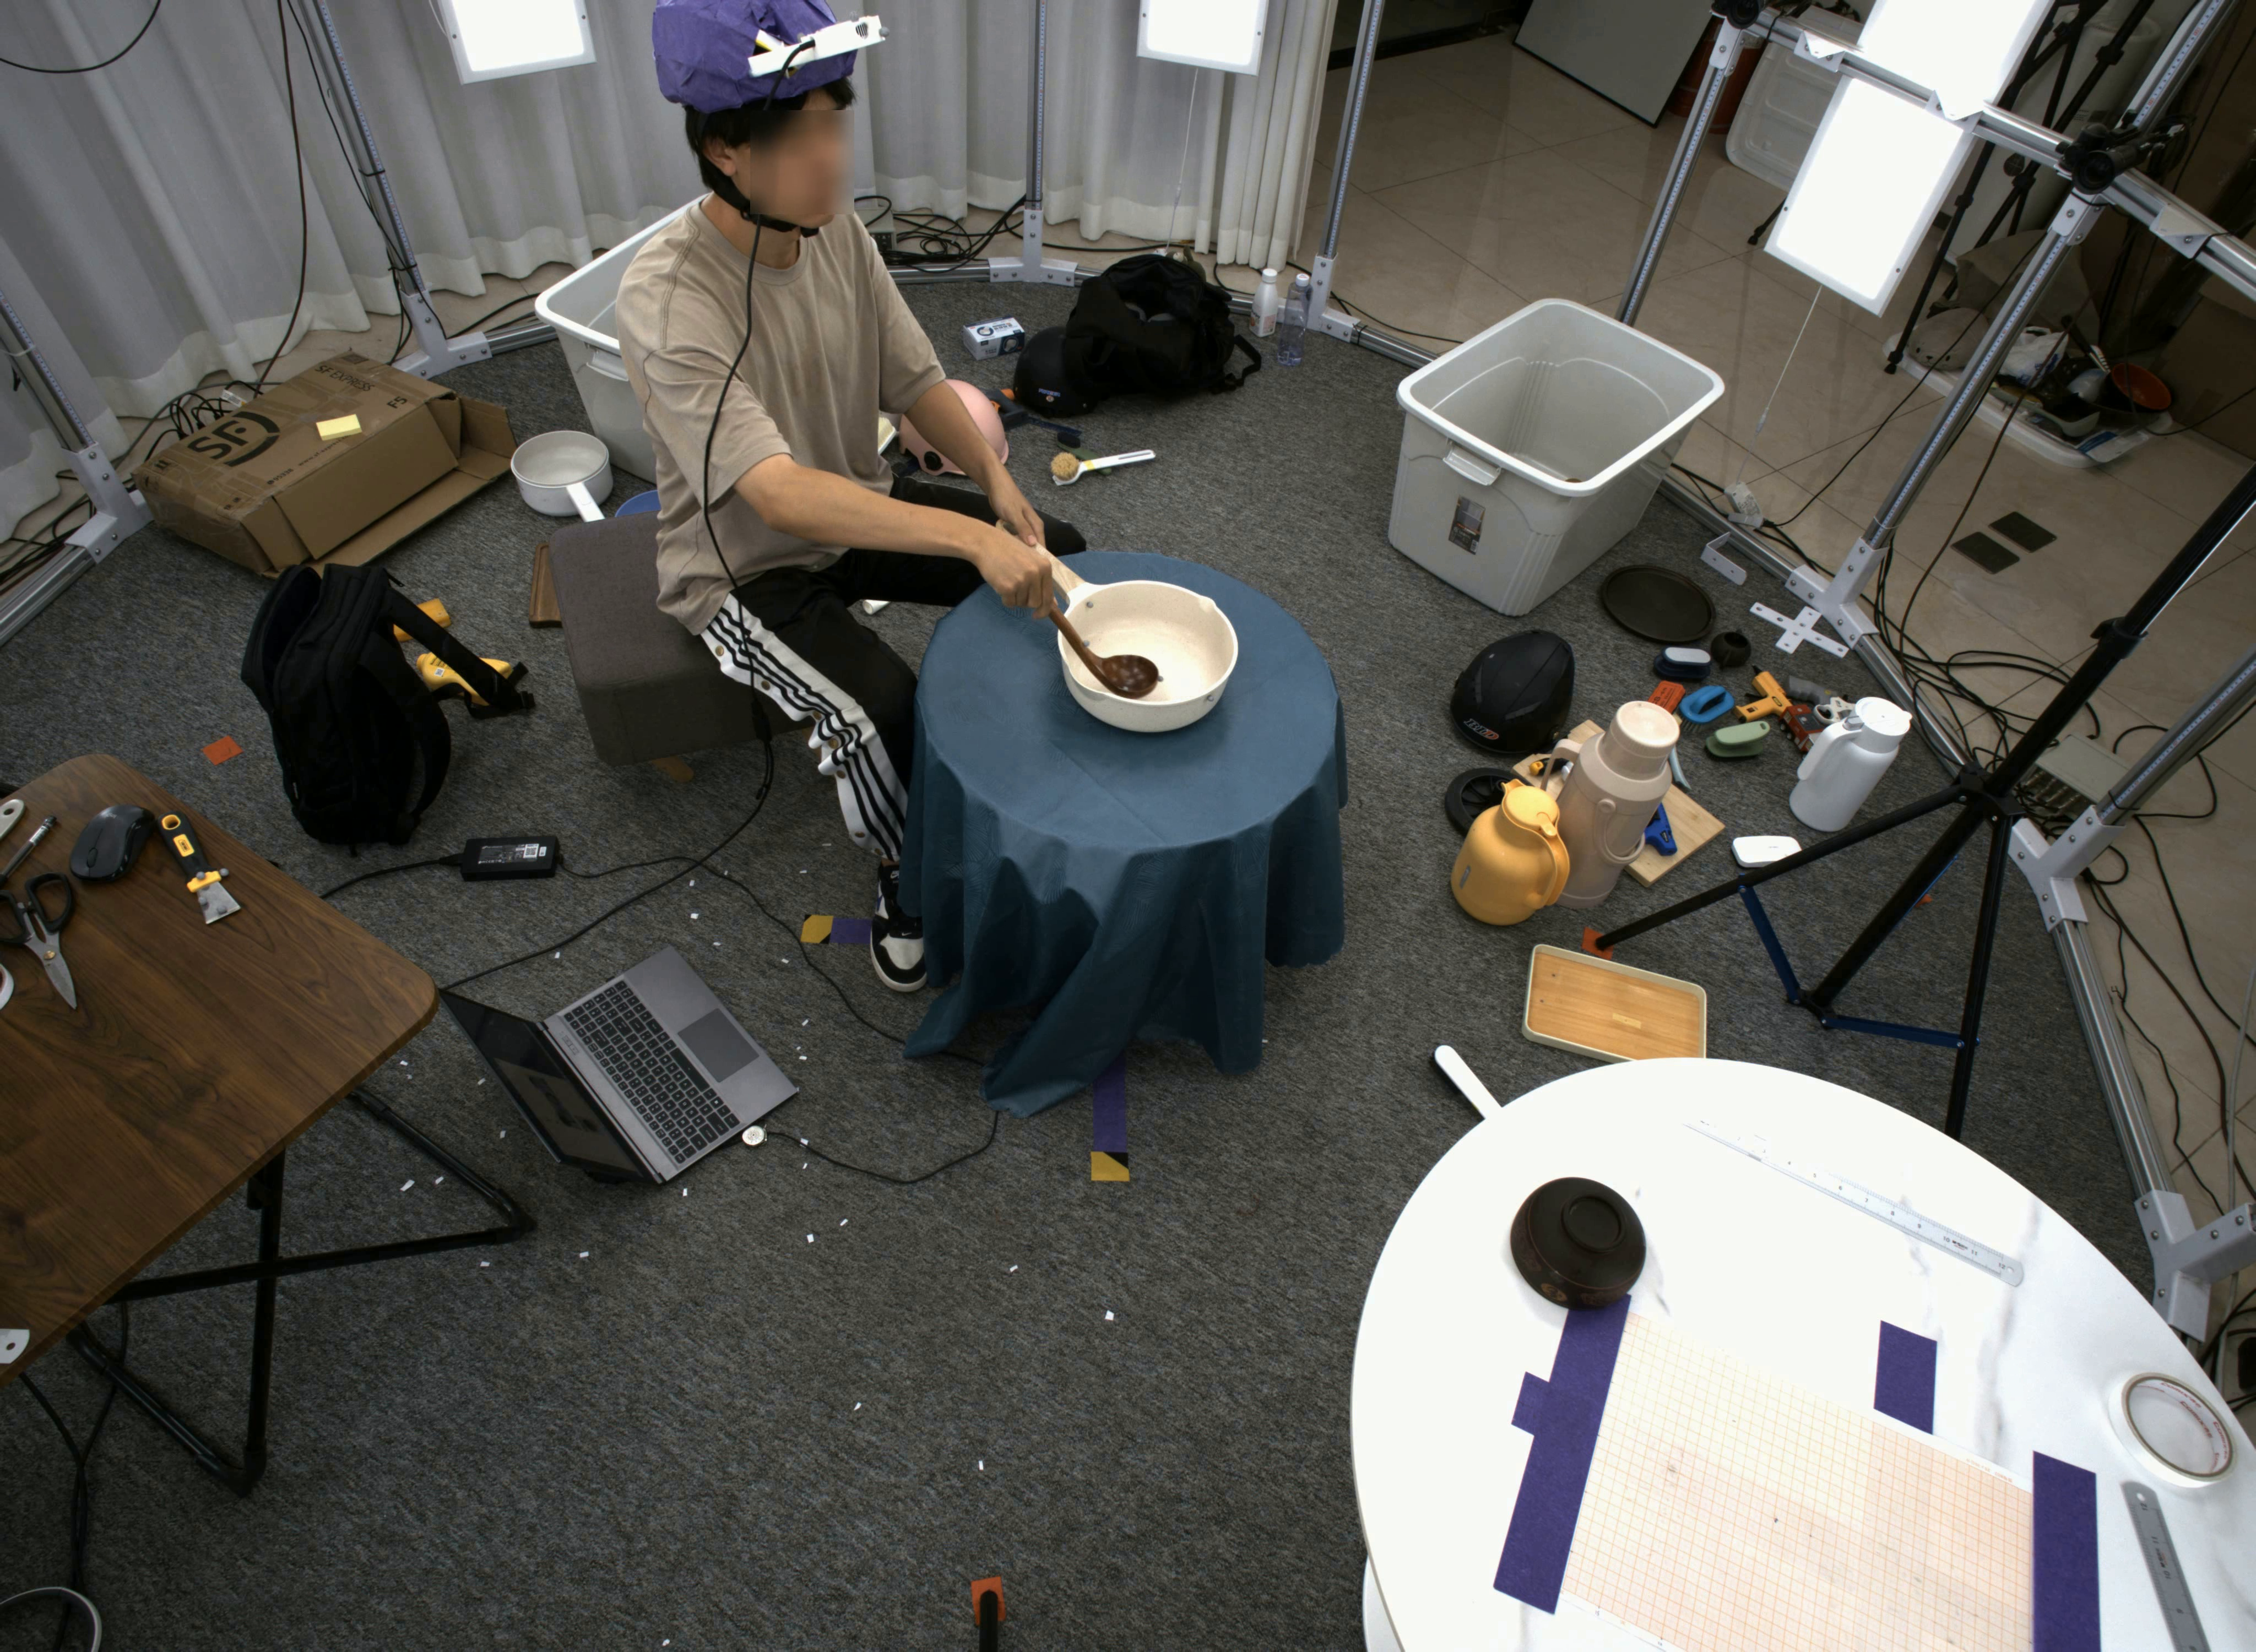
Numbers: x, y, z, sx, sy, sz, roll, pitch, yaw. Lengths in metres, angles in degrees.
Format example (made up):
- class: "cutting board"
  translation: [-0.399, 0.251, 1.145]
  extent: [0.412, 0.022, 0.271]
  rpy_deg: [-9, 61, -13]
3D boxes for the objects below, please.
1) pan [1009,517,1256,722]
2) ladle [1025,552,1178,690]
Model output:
- class: "pan"
  translation: [-0.015, -0.304, 1.853]
  extent: [0.441, 0.099, 0.266]
  rpy_deg: [38, 57, 26]
- class: "ladle"
  translation: [-0.028, -0.274, 1.697]
  extent: [0.076, 0.268, 0.084]
  rpy_deg: [-30, 39, 15]
